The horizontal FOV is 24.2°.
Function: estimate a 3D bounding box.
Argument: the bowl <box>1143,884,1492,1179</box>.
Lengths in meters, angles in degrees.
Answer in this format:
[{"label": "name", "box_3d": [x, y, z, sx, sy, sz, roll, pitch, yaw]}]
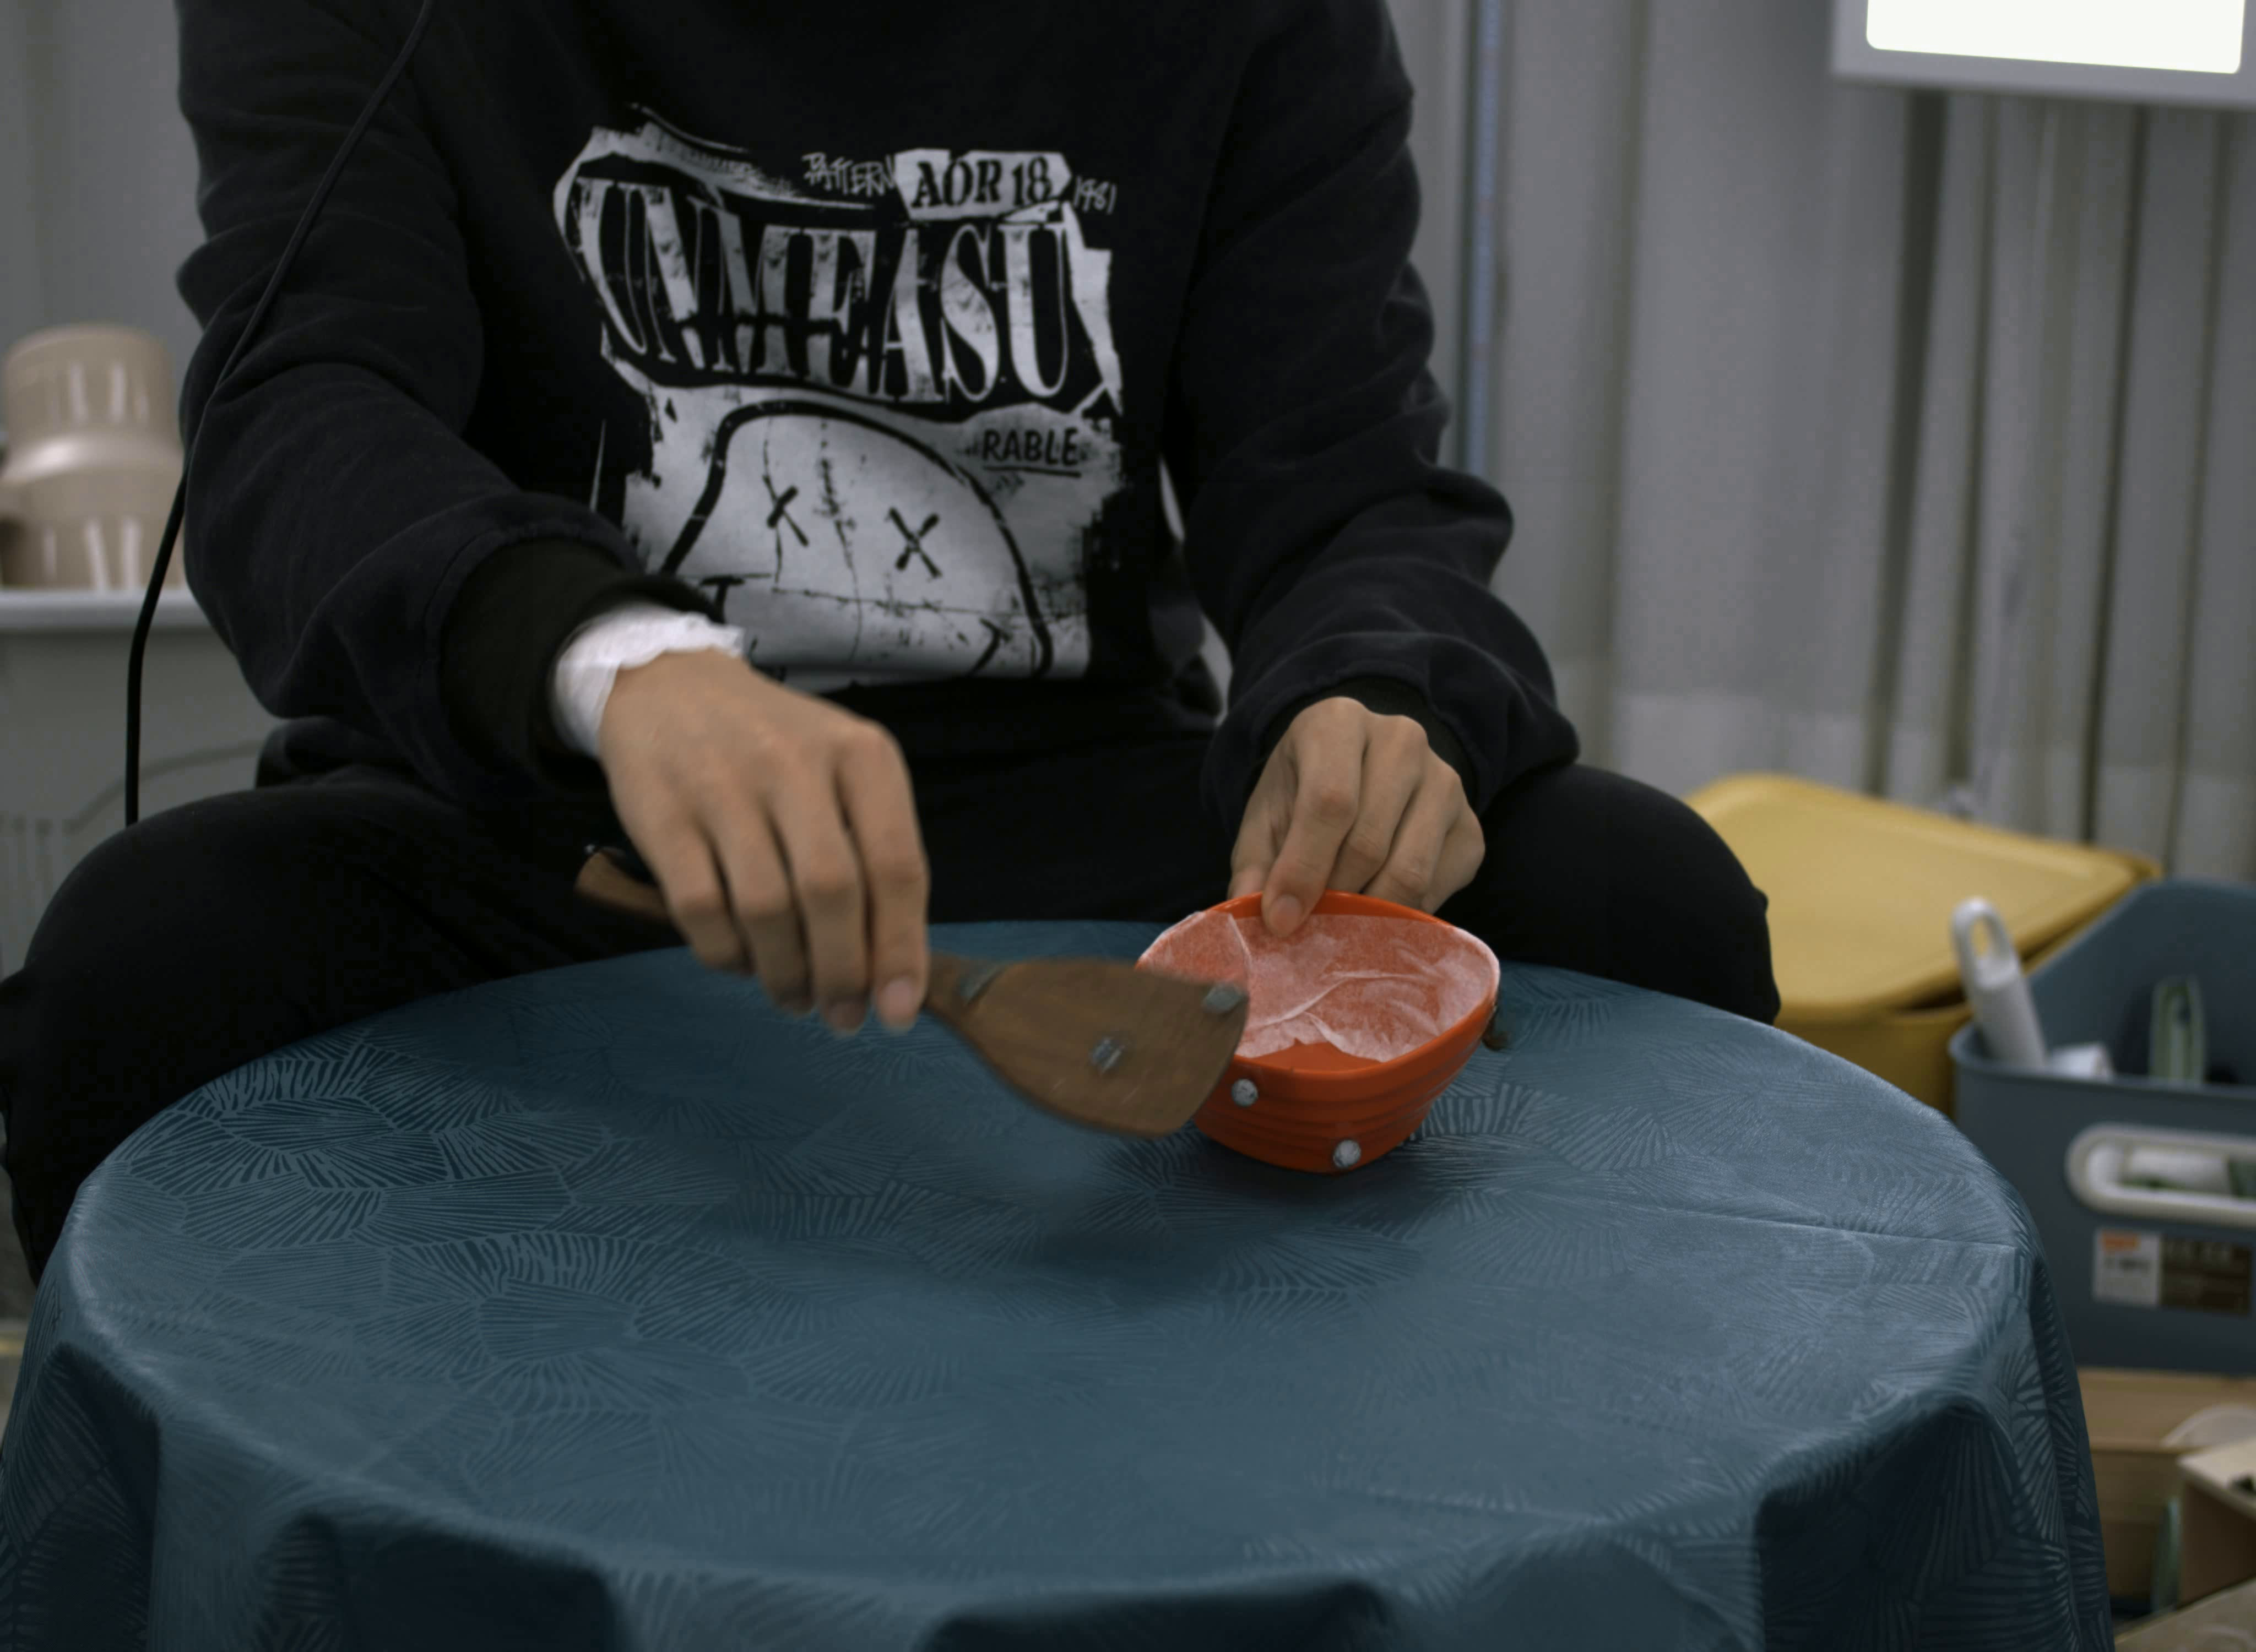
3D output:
[{"label": "bowl", "box_3d": [0.056, 0.069, 1.667, 0.118, 0.052, 0.118, 0, 31, 1]}]

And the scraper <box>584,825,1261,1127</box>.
[{"label": "scraper", "box_3d": [-0.065, 0.039, 1.585, 0.210, 0.011, 0.075, 18, 43, 11]}]
